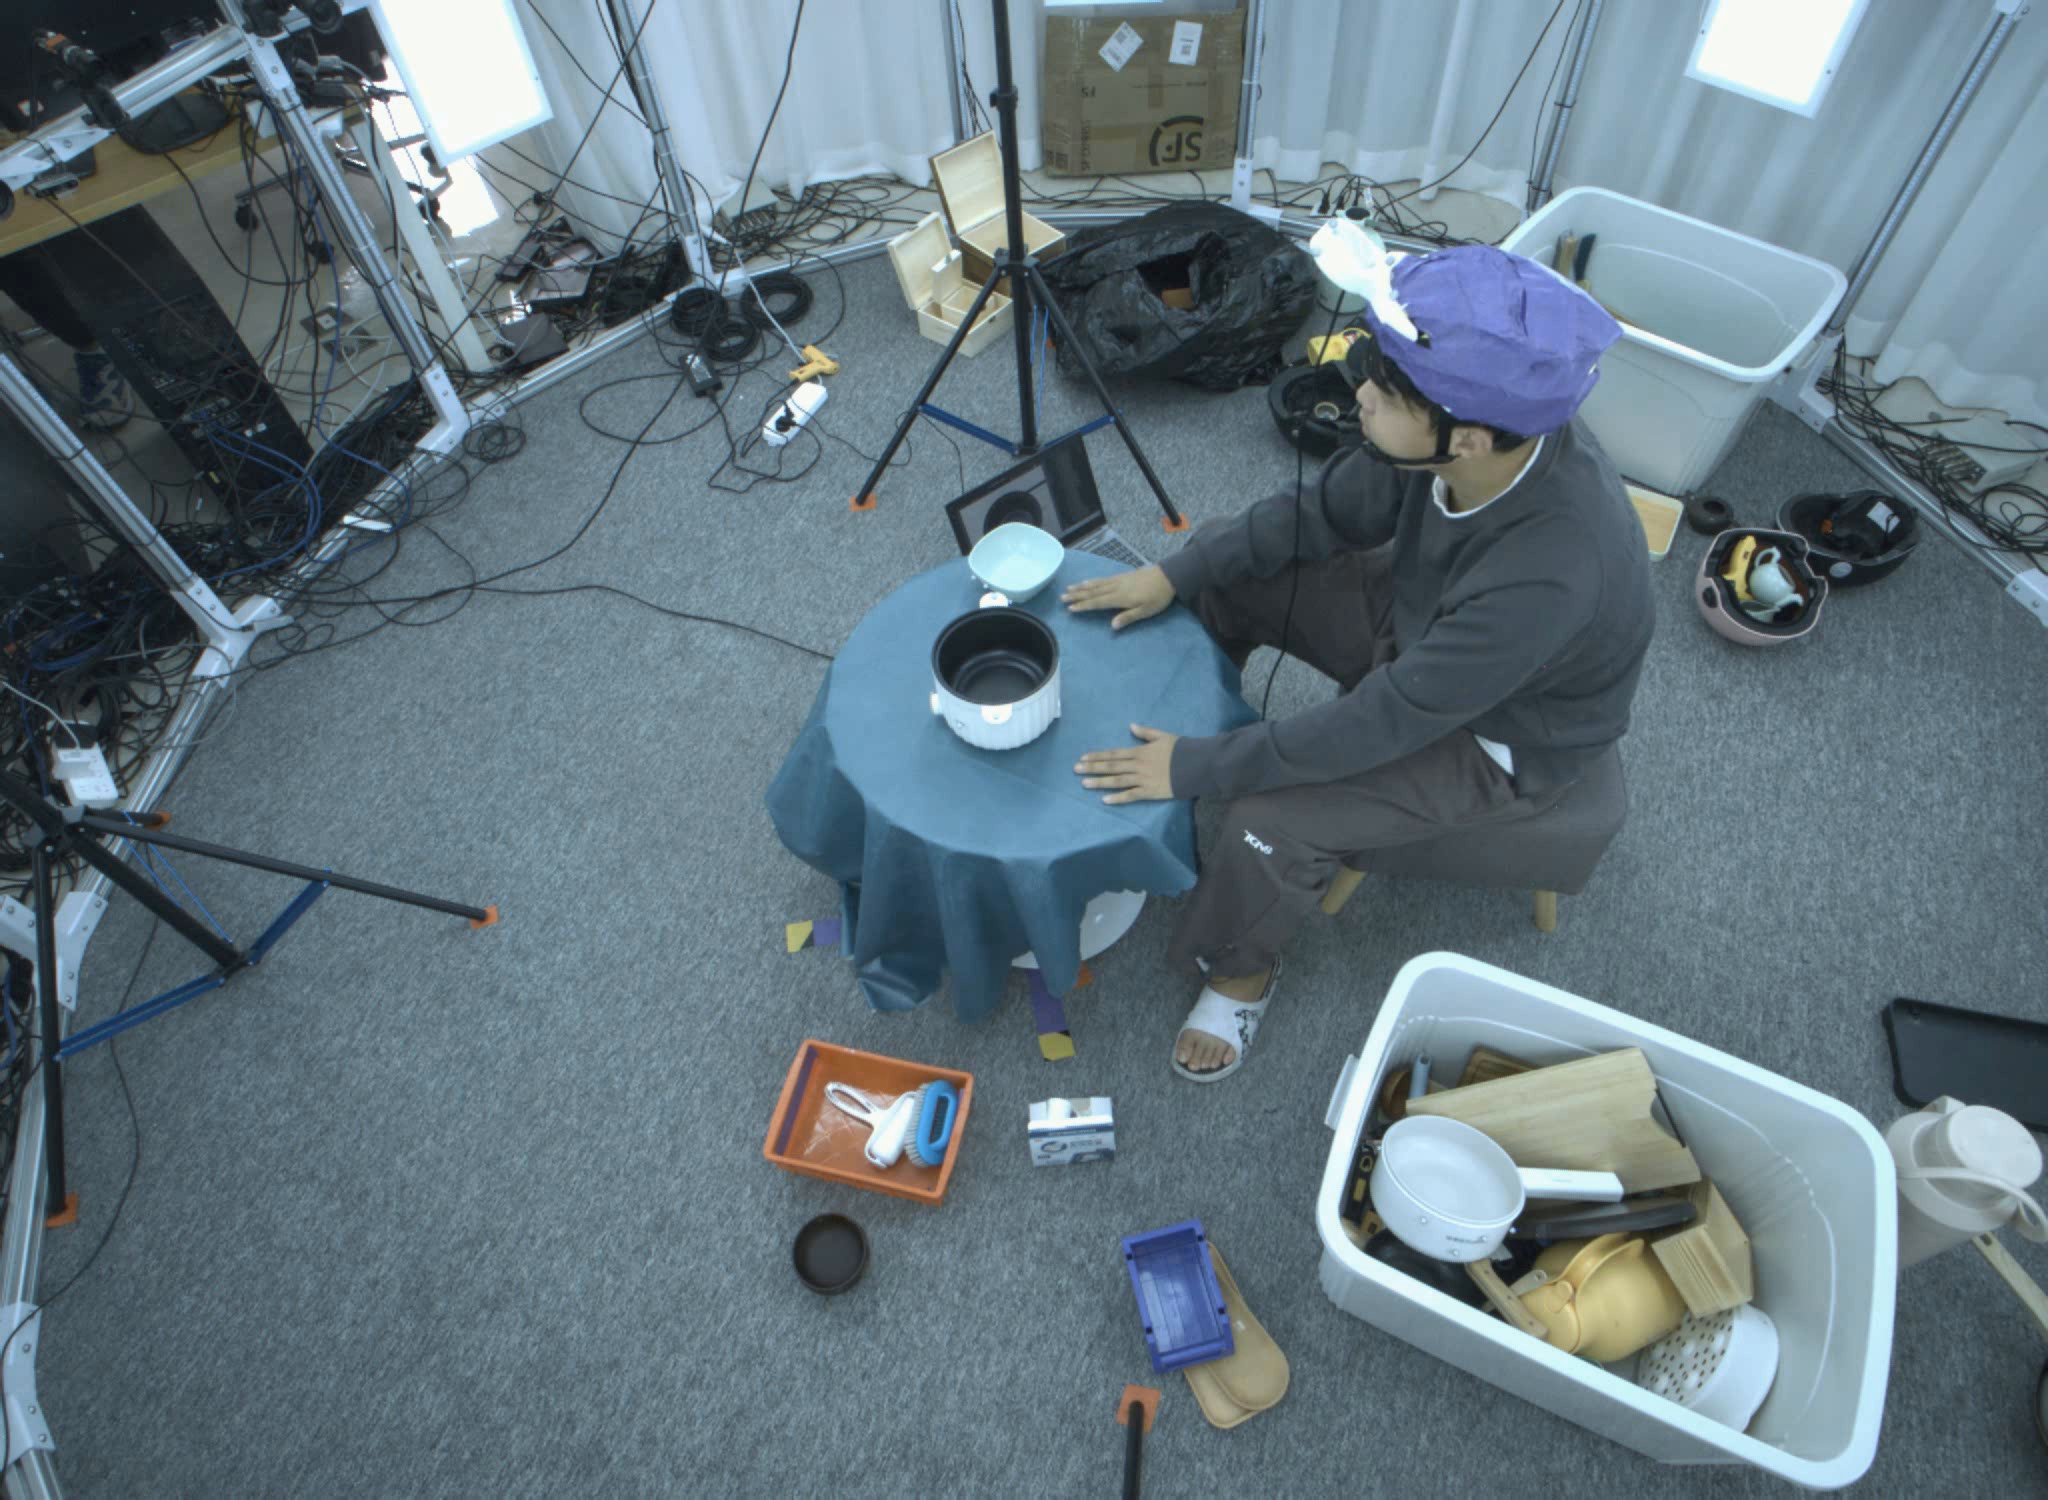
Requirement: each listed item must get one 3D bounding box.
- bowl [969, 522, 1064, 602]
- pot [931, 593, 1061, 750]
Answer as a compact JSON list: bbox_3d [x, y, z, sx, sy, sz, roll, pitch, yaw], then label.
[{"bbox_3d":[-0.011,-0.291,1.959,0.151,0.059,0.150,-1,56,2],"label":"bowl"},{"bbox_3d":[-0.041,-0.095,1.769,0.191,0.144,0.237,-3,53,-4],"label":"pot"}]
